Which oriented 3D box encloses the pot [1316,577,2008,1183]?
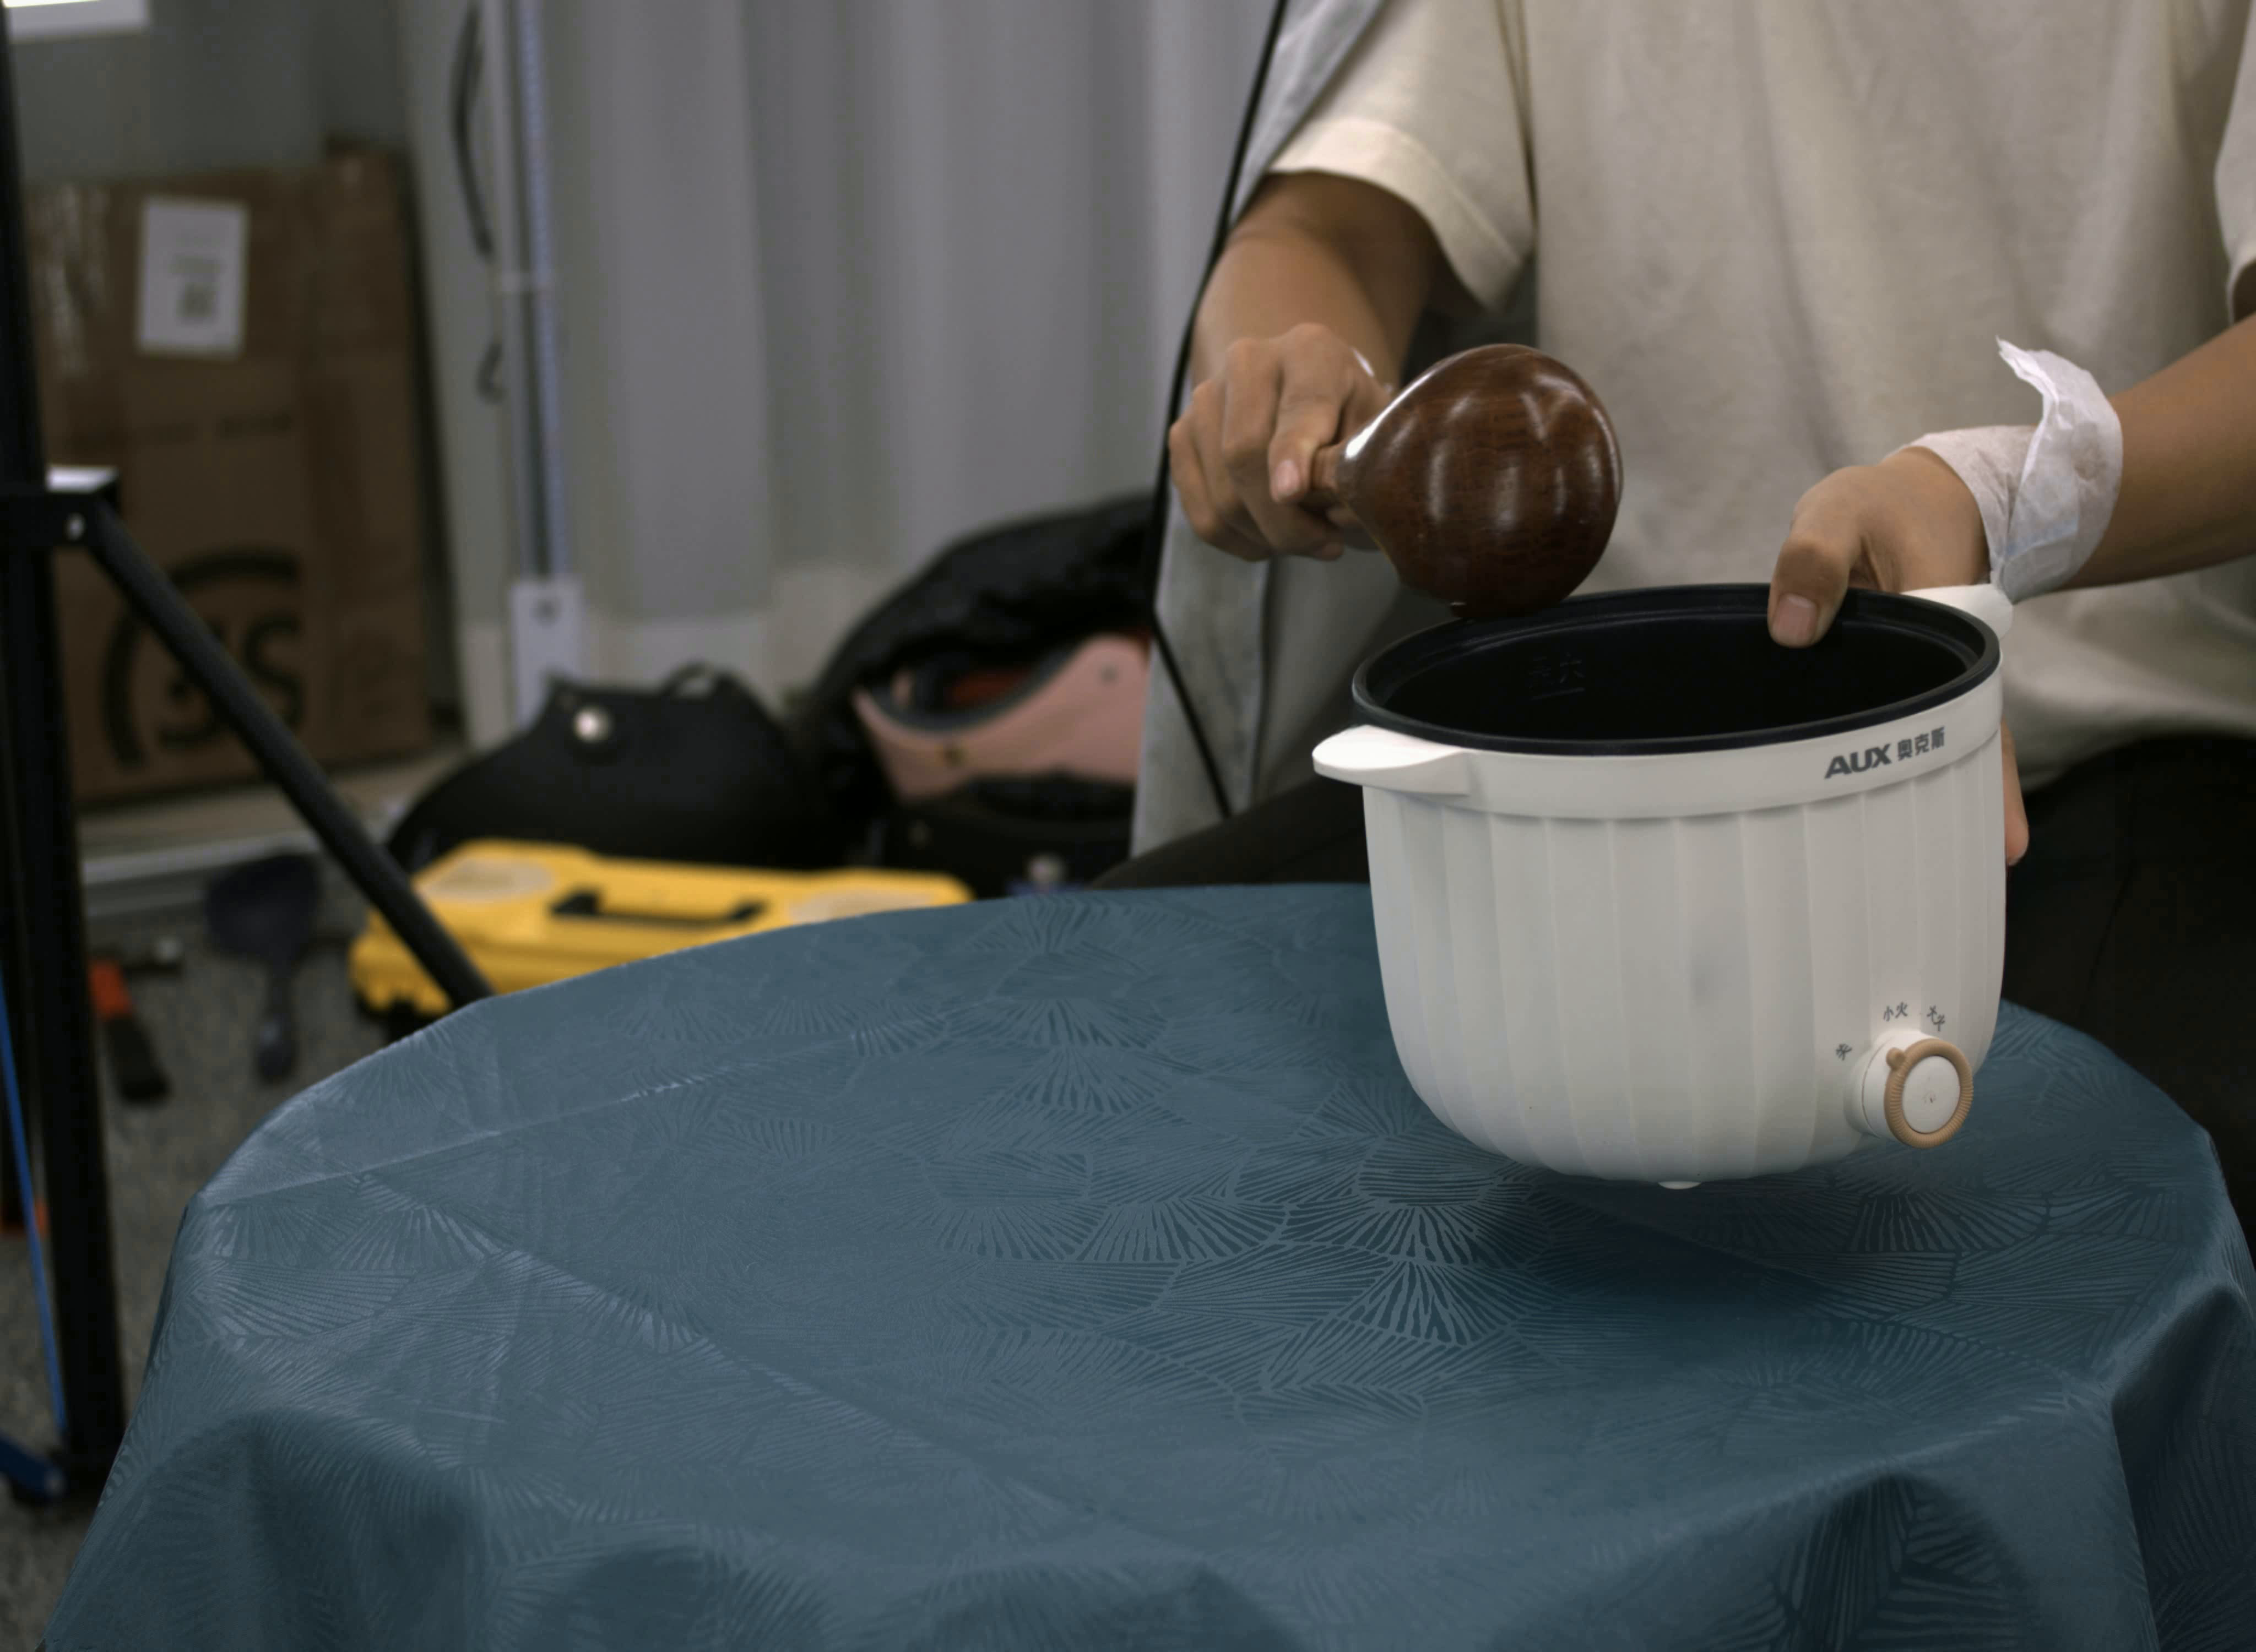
[{"bbox_3d":[0.162,0.017,1.486,0.235,0.142,0.194,-15,14,-30],"label":"pot"}]

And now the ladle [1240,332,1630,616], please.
[{"bbox_3d":[0.092,-0.105,1.641,0.076,0.082,0.275,14,-1,-6],"label":"ladle"}]
